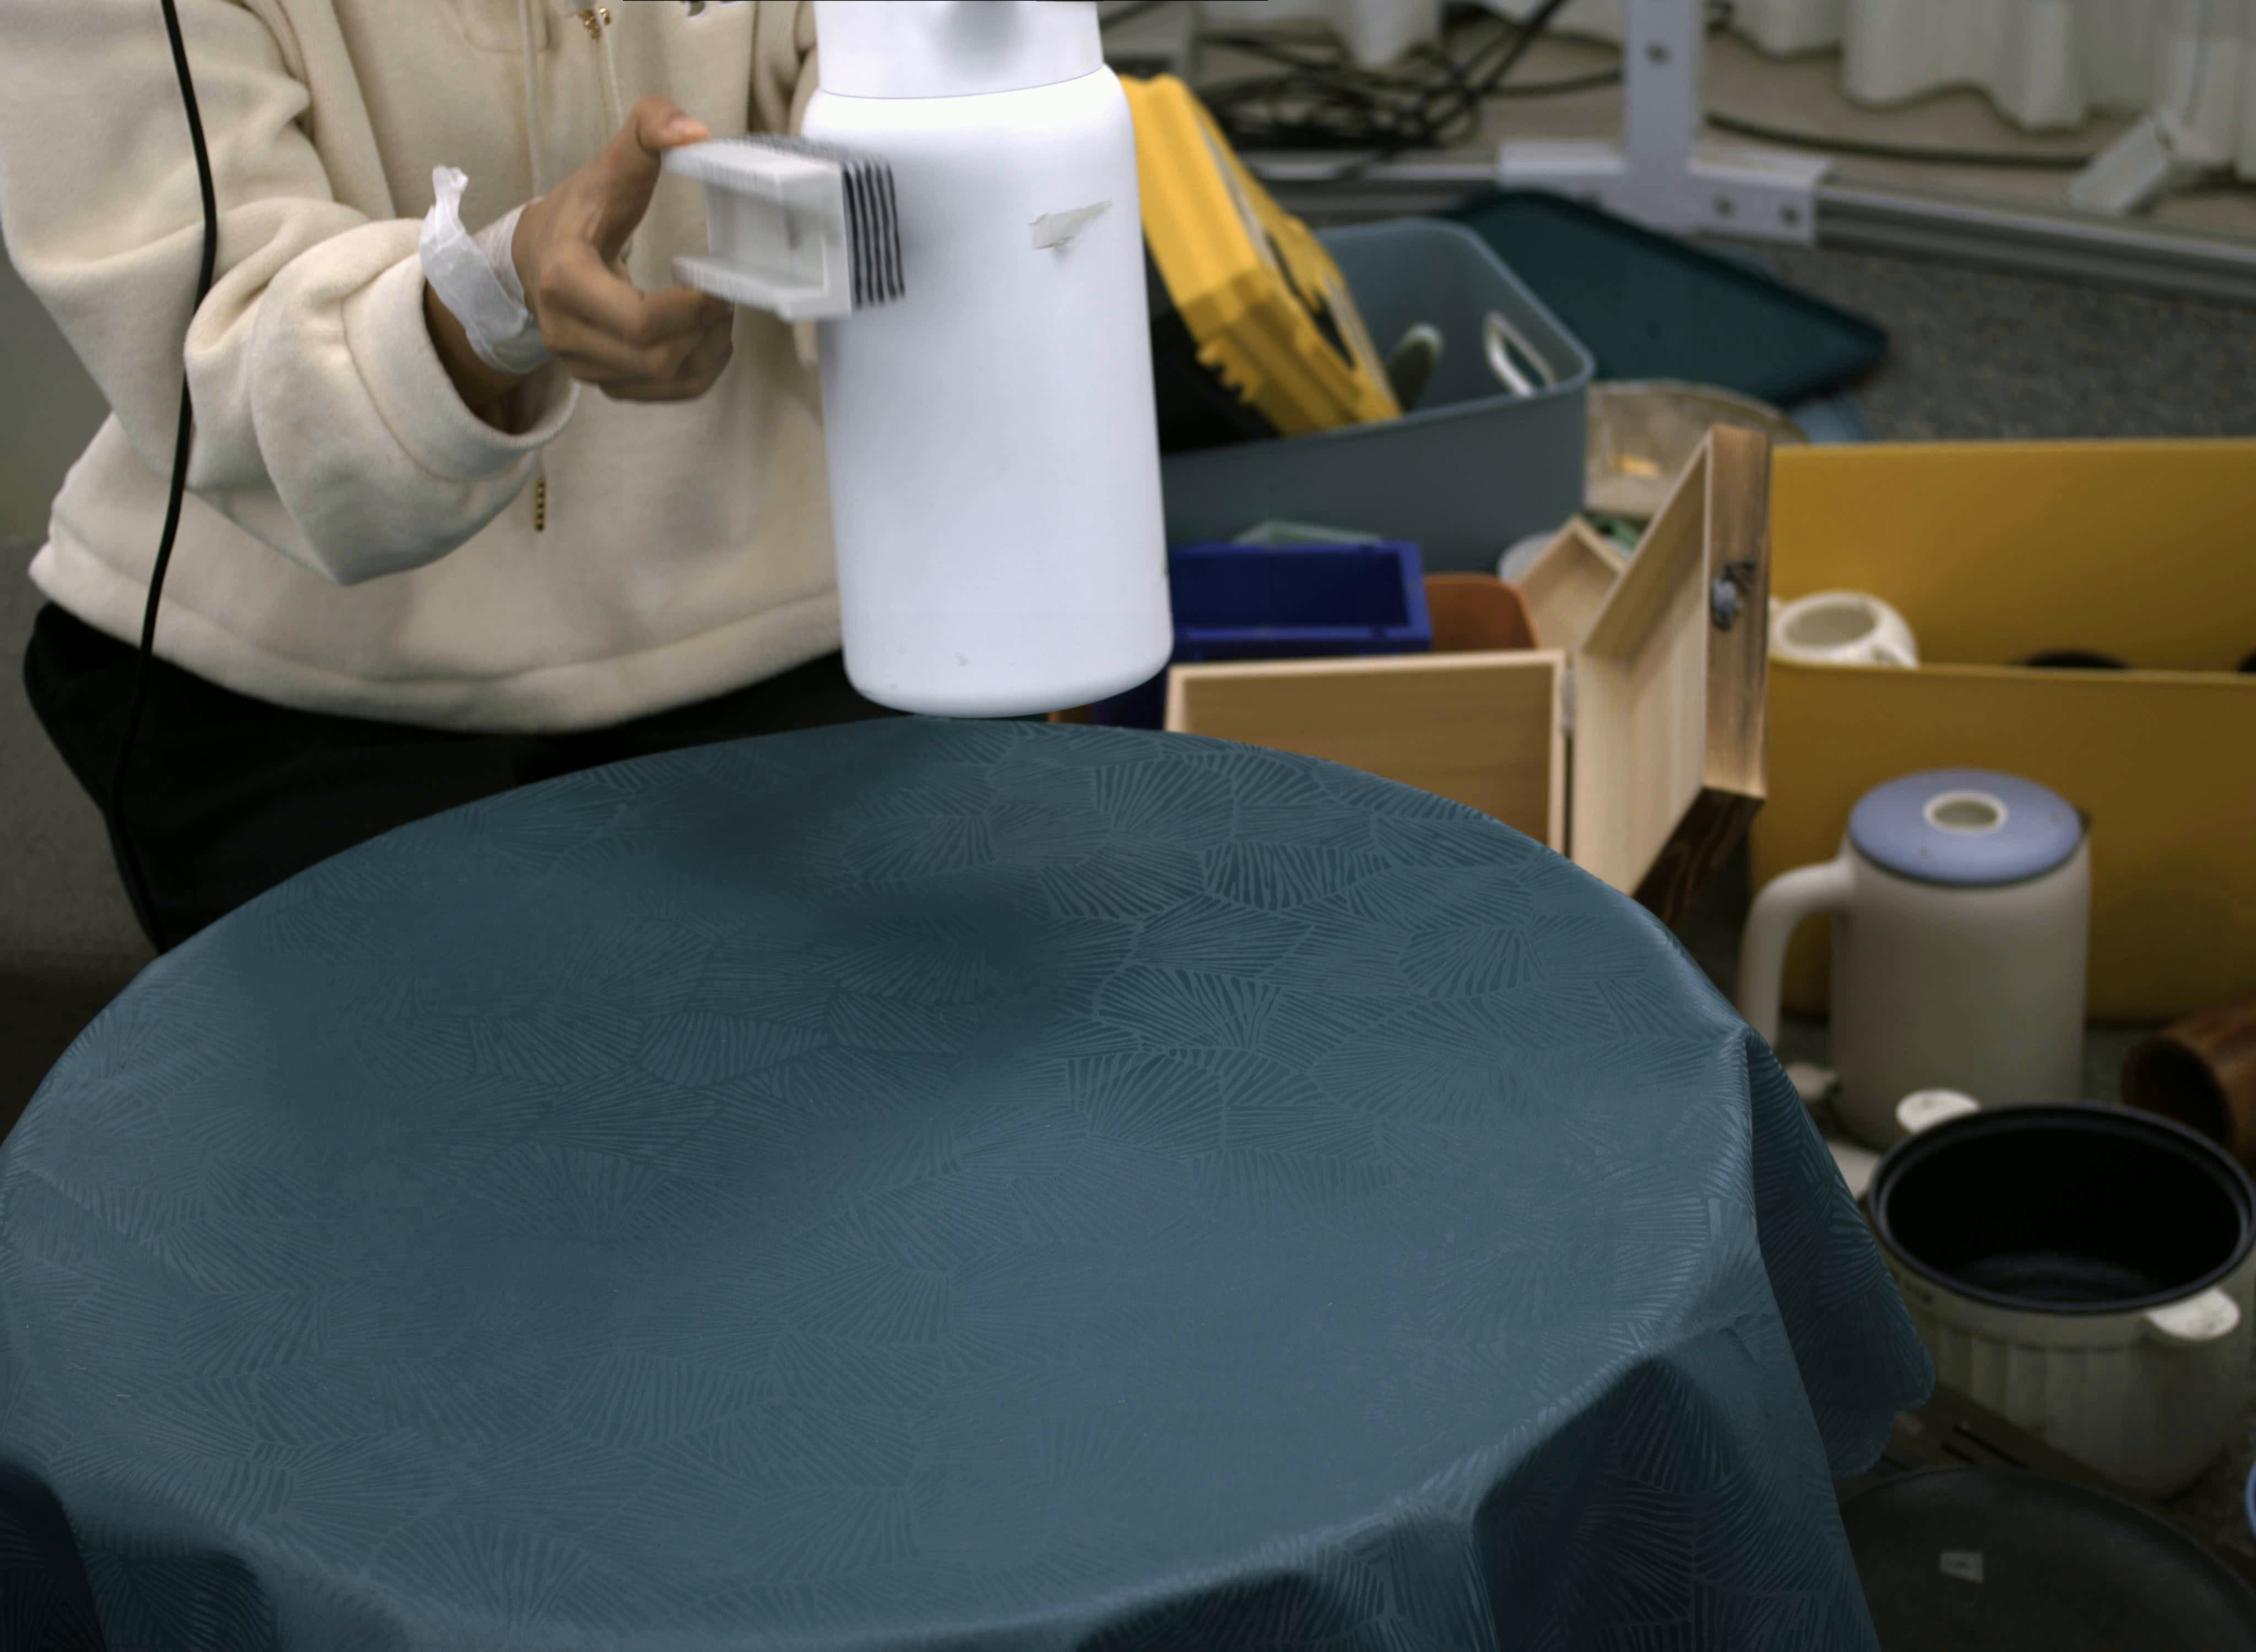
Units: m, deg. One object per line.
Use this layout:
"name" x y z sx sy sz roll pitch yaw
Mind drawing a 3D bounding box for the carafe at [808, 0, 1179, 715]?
"carafe" -0.053 -0.184 1.991 0.124 0.268 0.173 -9 15 -10

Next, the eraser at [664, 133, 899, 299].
"eraser" -0.118 -0.208 1.908 0.046 0.049 0.134 -12 11 -18
